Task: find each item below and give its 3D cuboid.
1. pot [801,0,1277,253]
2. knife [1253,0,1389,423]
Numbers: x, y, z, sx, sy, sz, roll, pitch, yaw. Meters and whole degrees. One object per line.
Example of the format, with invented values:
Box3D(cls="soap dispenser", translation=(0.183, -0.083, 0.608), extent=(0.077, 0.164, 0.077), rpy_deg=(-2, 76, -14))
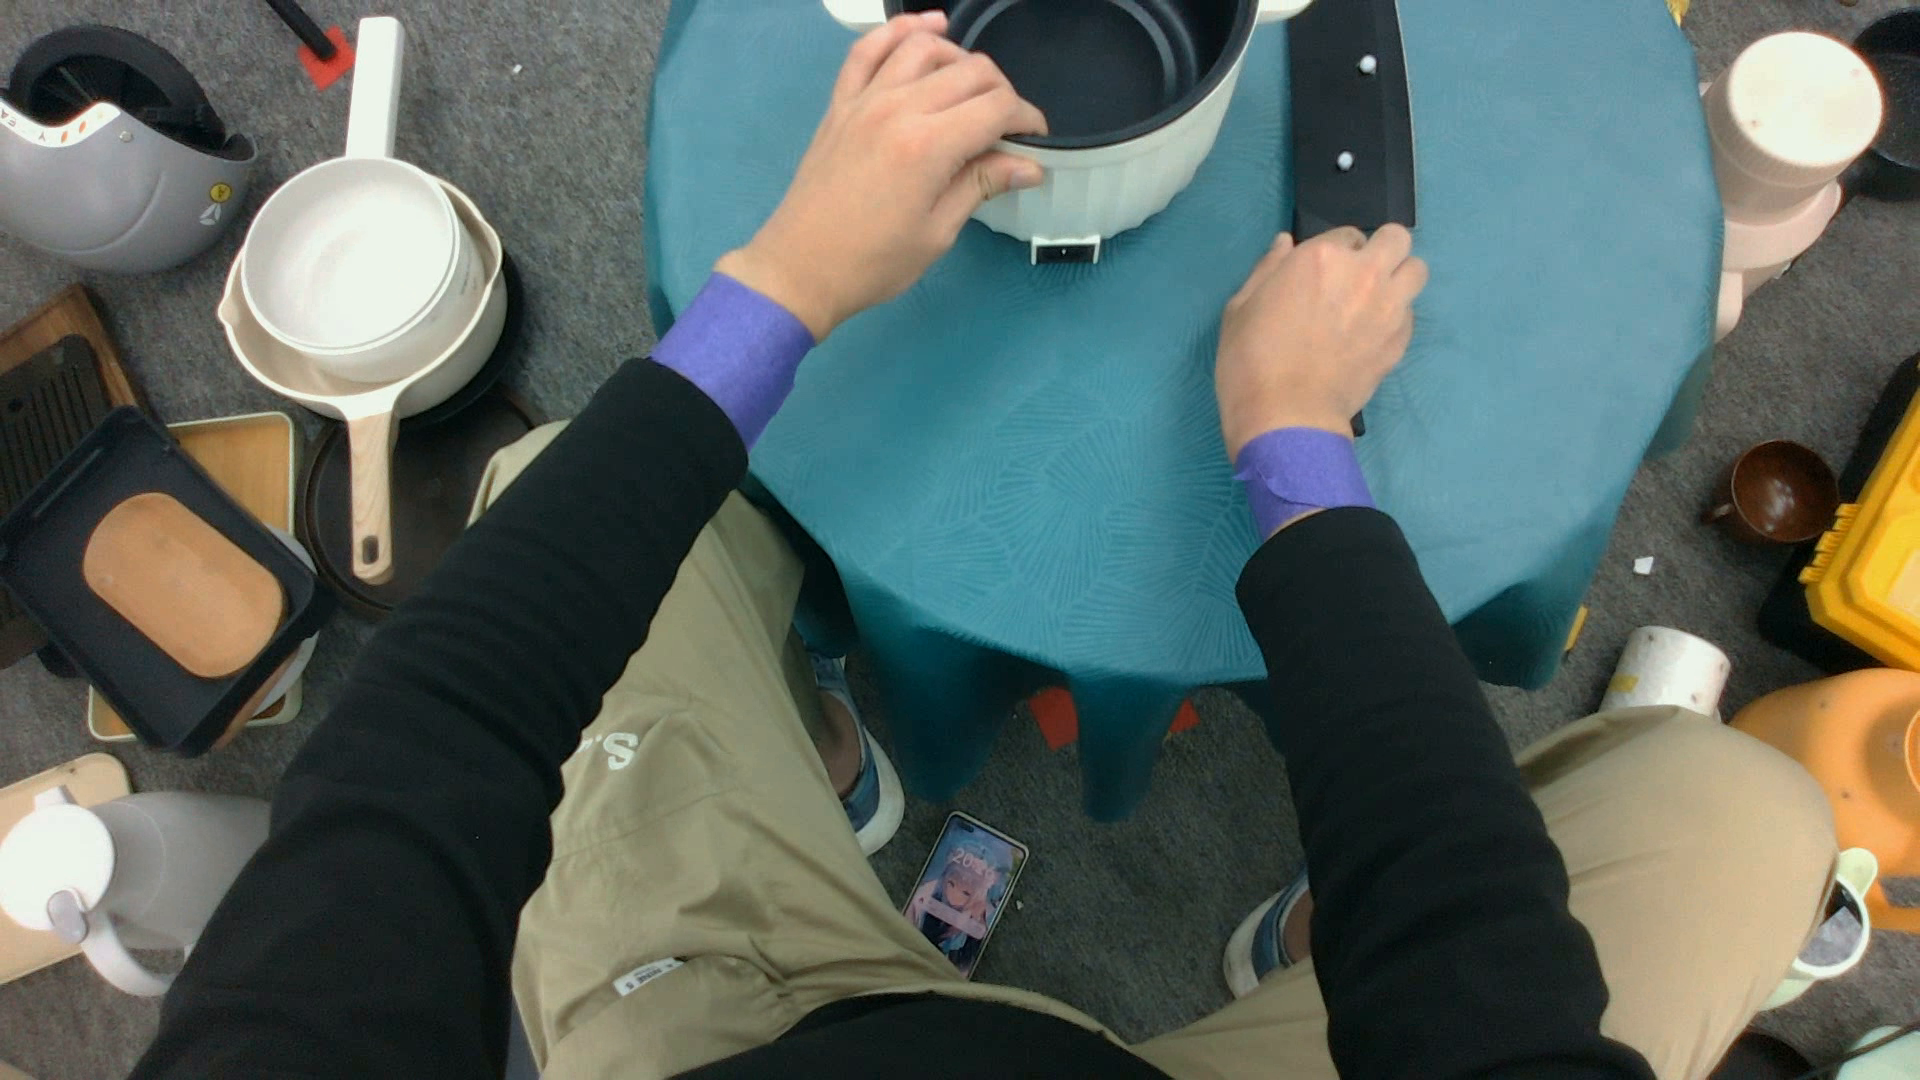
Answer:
Box3D(cls="pot", translation=(0.042, -0.264, 0.728), extent=(0.240, 0.142, 0.191), rpy_deg=(-2, 79, 0))
Box3D(cls="knife", translation=(0.200, -0.207, 0.769), extent=(0.081, 0.021, 0.303), rpy_deg=(5, 72, 3))
